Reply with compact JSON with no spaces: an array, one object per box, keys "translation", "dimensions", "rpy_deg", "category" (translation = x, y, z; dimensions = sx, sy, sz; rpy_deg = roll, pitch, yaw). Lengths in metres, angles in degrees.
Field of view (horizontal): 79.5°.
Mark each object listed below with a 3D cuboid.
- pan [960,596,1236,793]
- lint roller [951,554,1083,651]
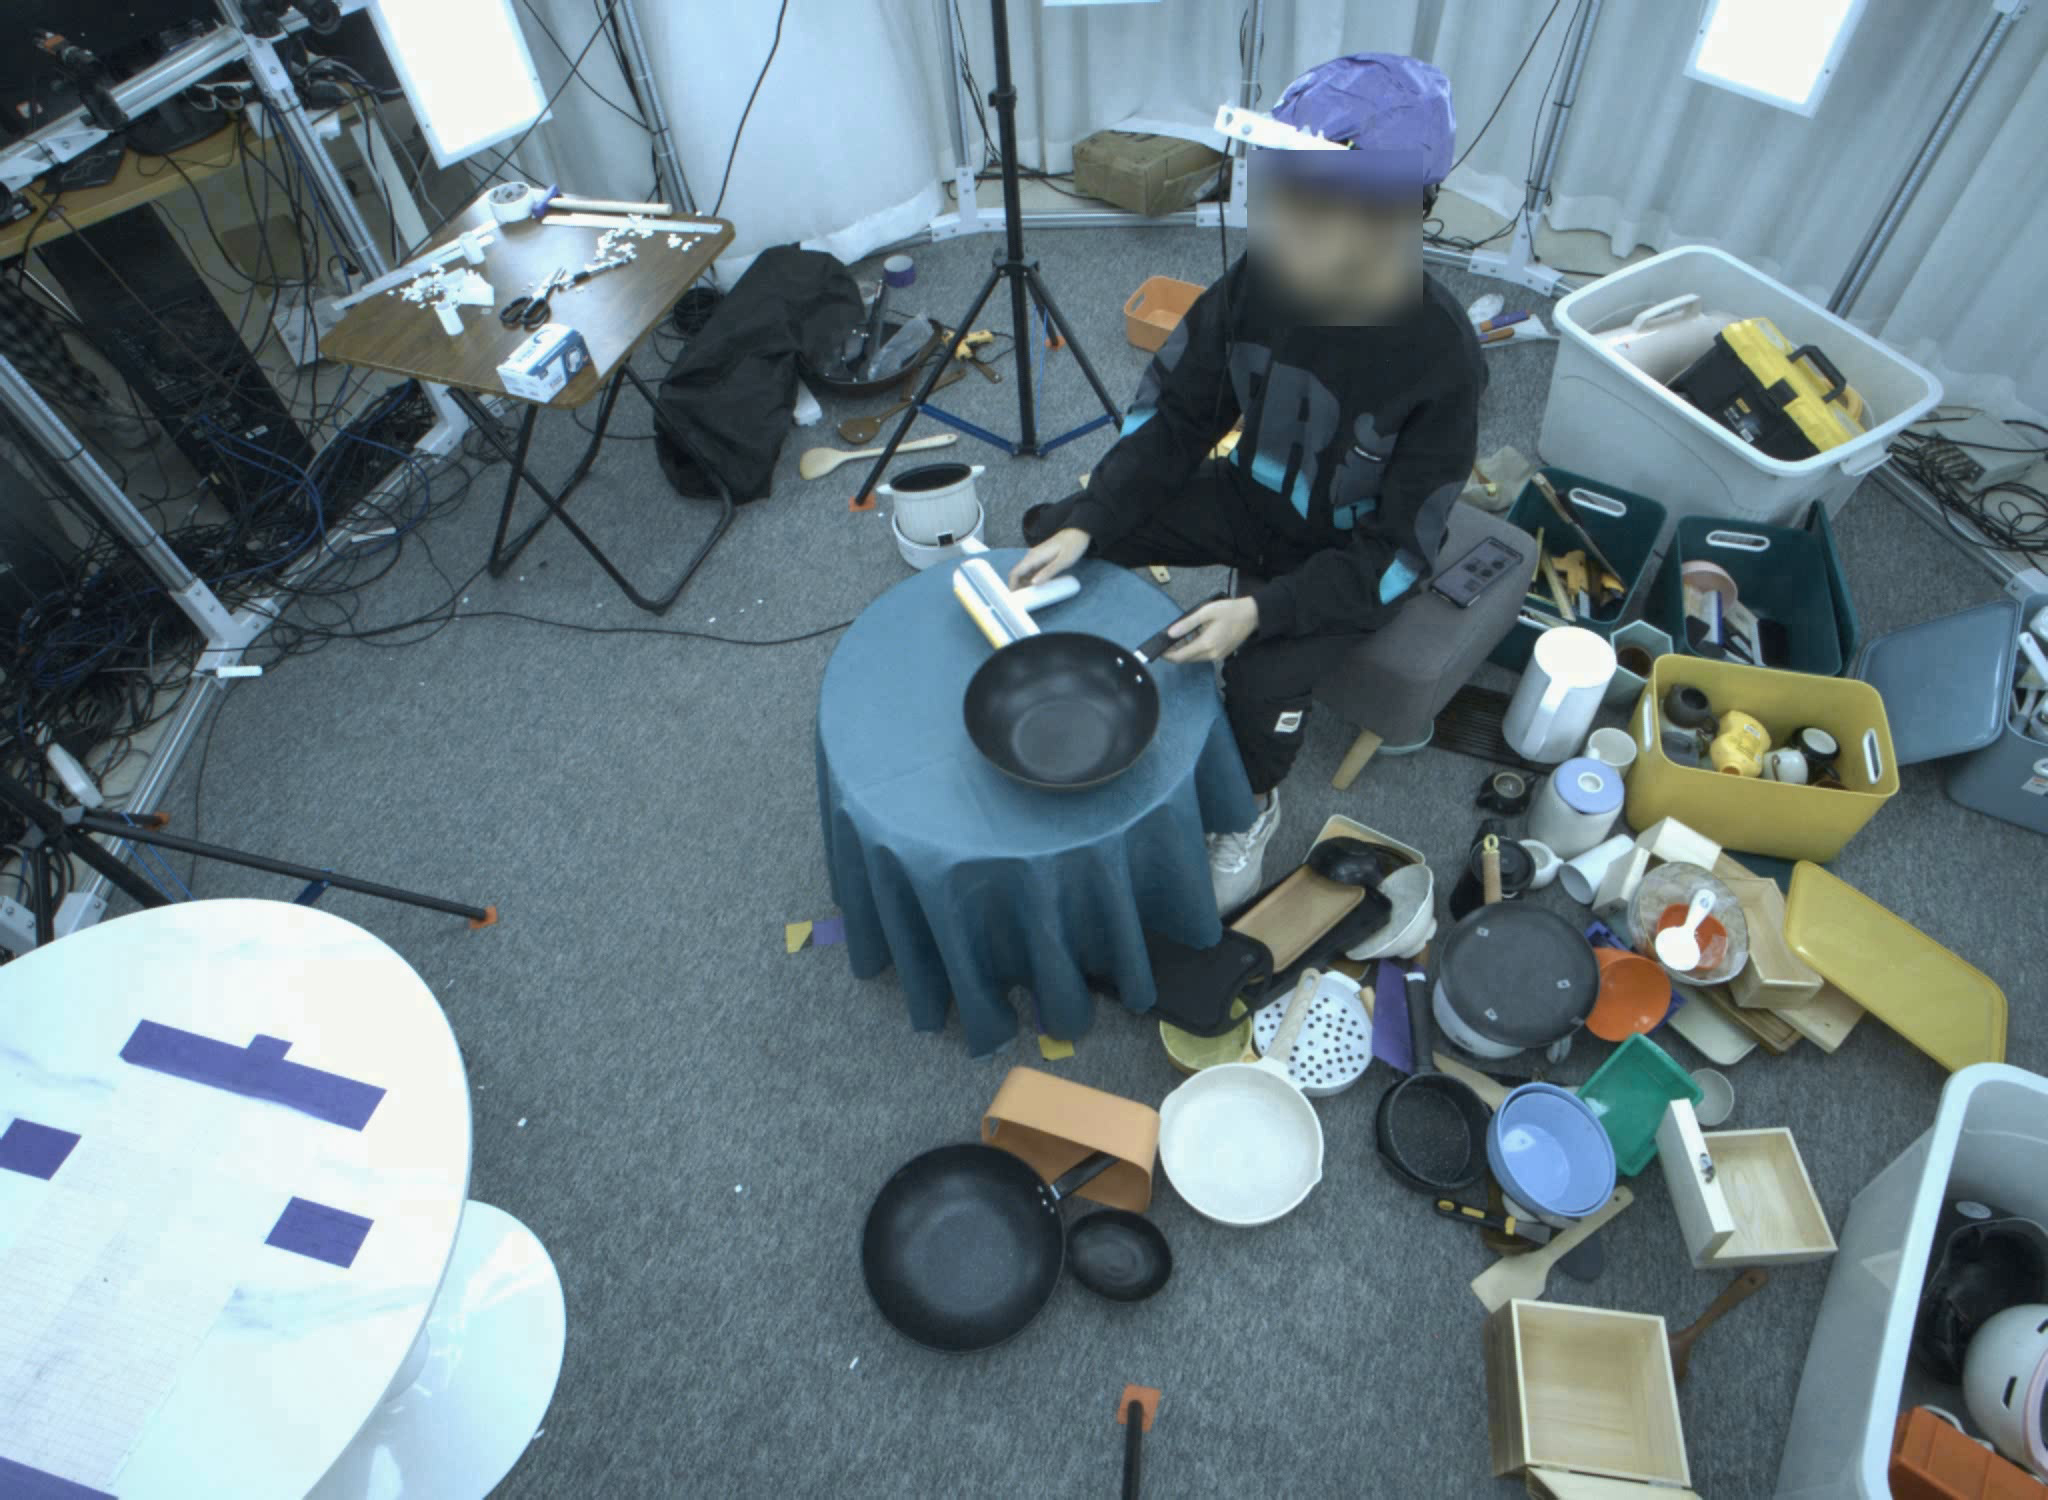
[{"translation":[0.124,-0.090,1.791],"dimensions":[0.467,0.088,0.283],"rpy_deg":[-34,60,-20],"category":"pan"},{"translation":[0.006,-0.238,1.910],"dimensions":[0.194,0.075,0.189],"rpy_deg":[-25,63,-17],"category":"lint roller"}]
